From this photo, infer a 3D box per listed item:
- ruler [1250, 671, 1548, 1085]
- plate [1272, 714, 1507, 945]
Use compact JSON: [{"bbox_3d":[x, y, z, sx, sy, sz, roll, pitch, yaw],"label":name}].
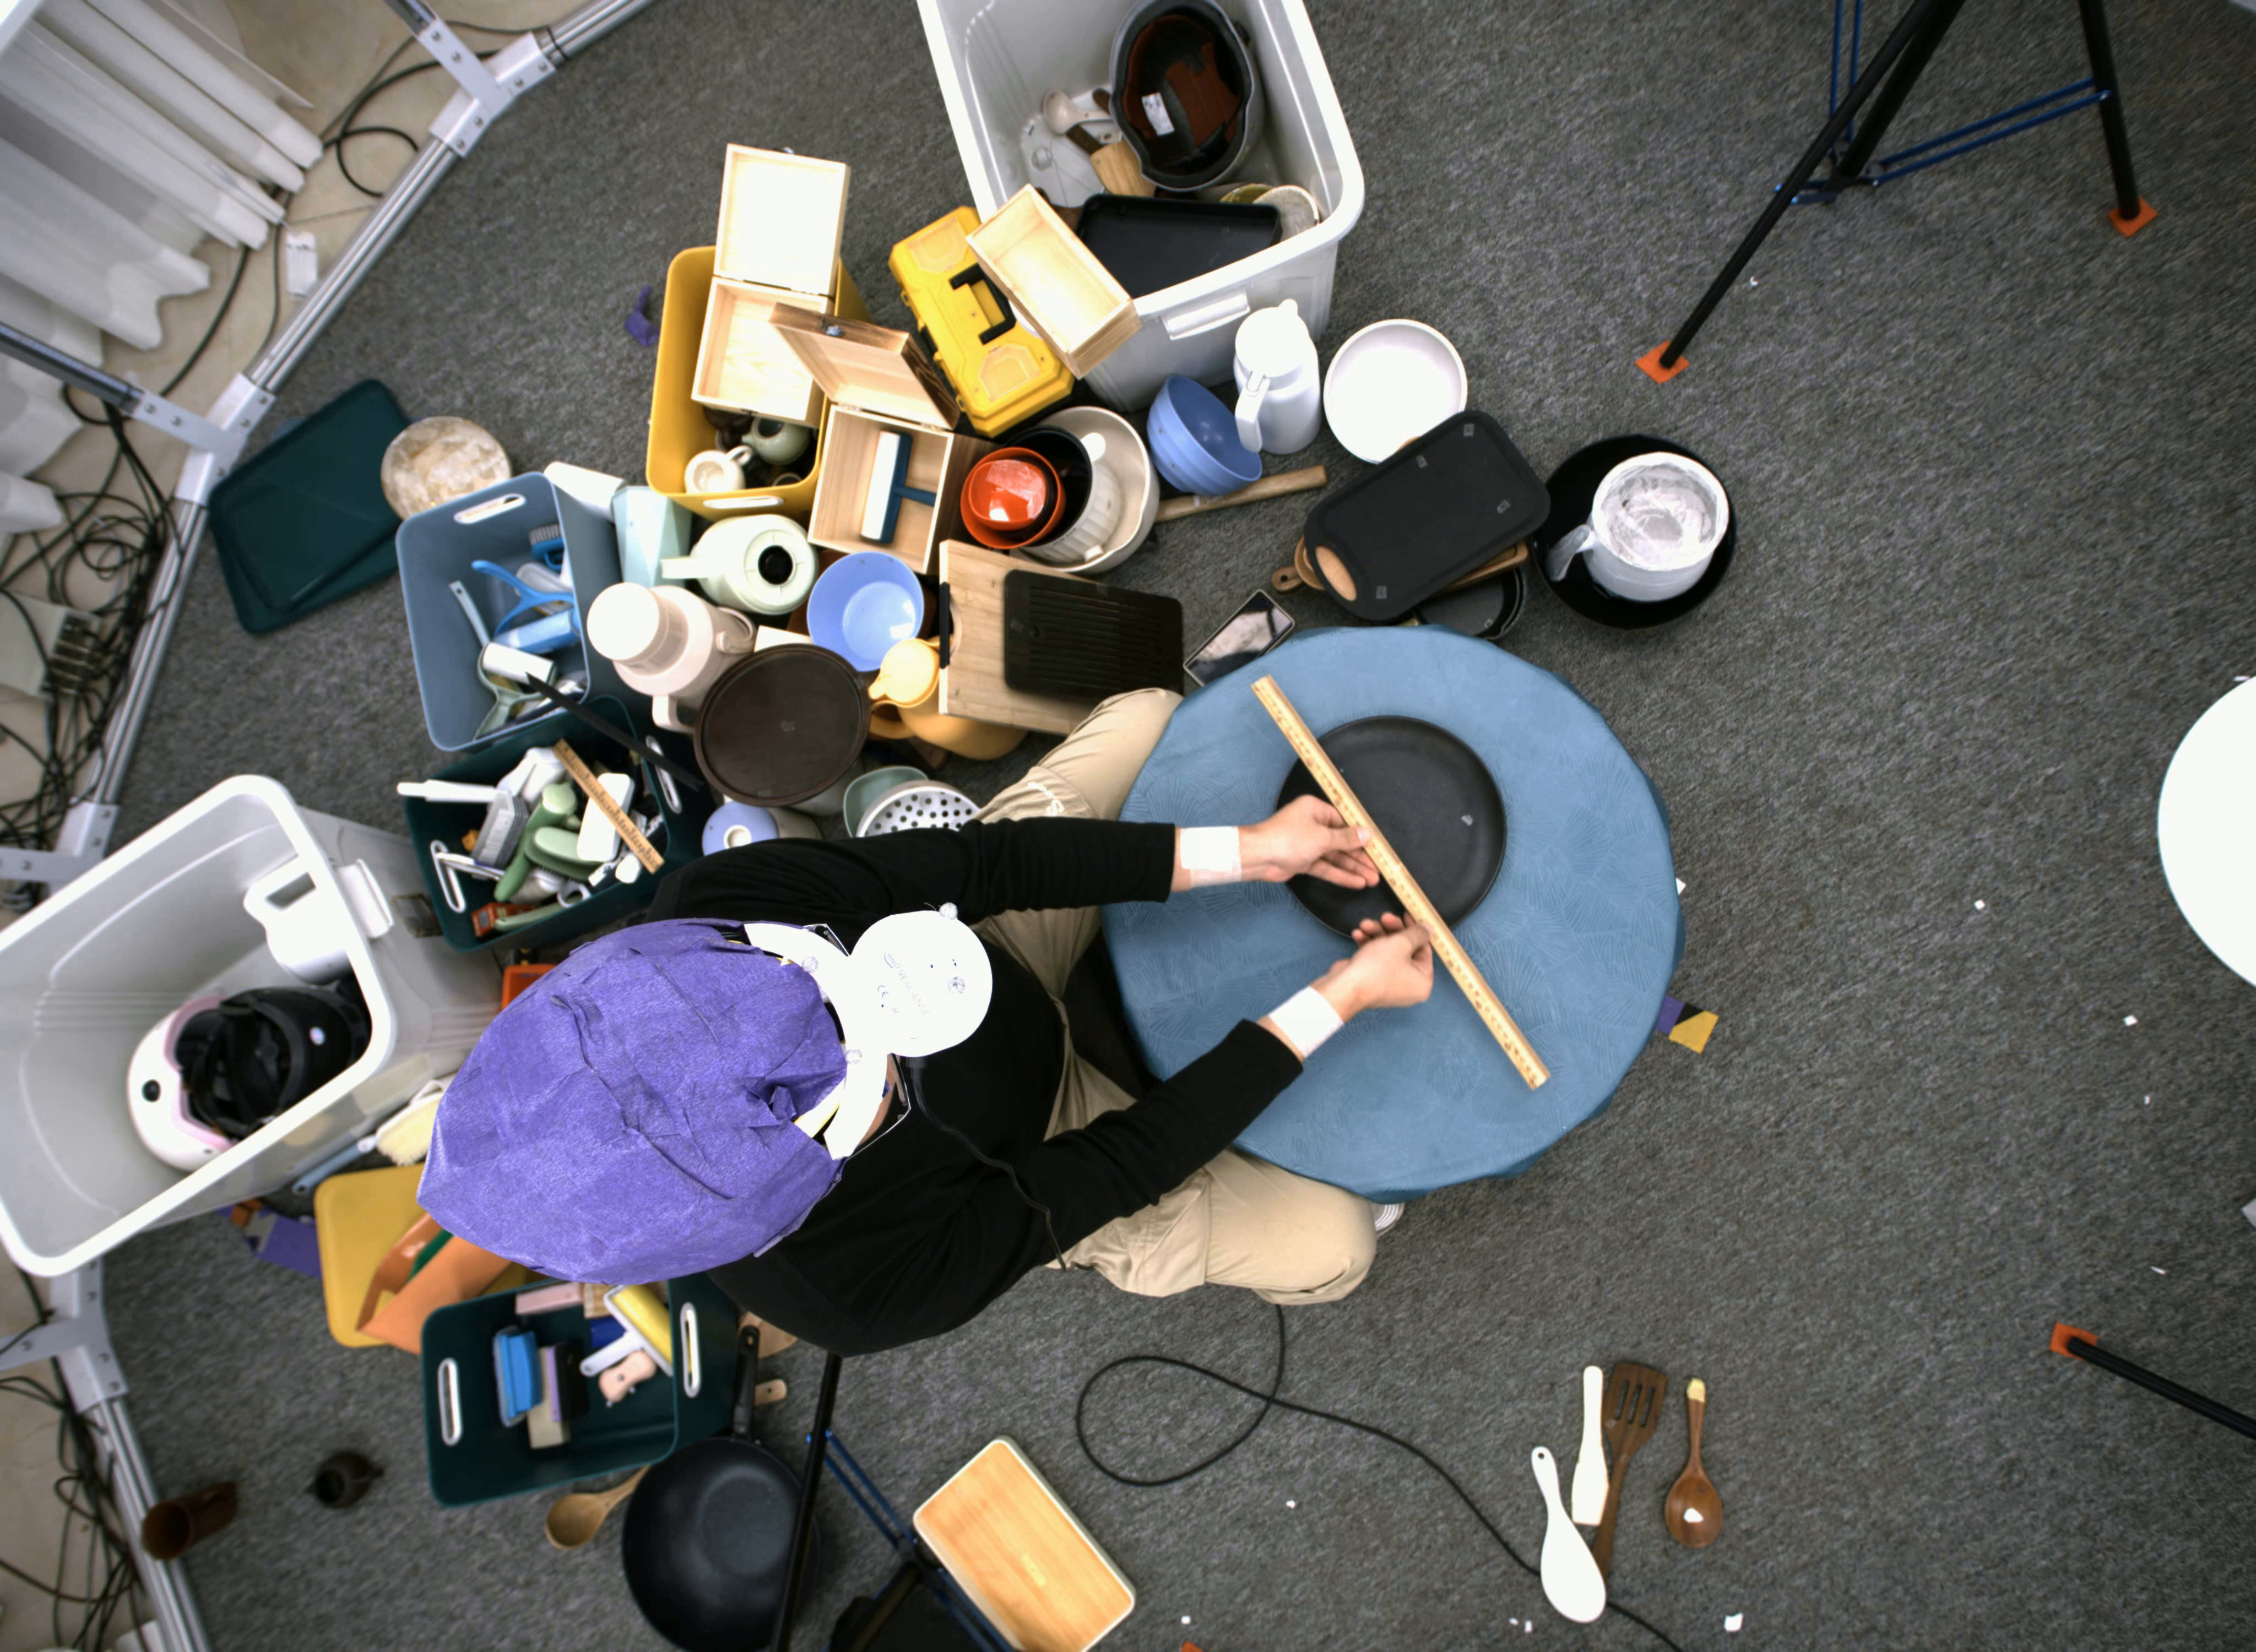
[{"bbox_3d":[0.275,0.049,1.411,0.026,0.006,0.498,-33,85,-11],"label":"ruler"},{"bbox_3d":[0.273,0.003,1.451,0.245,0.023,0.243,-1,87,11],"label":"plate"}]
